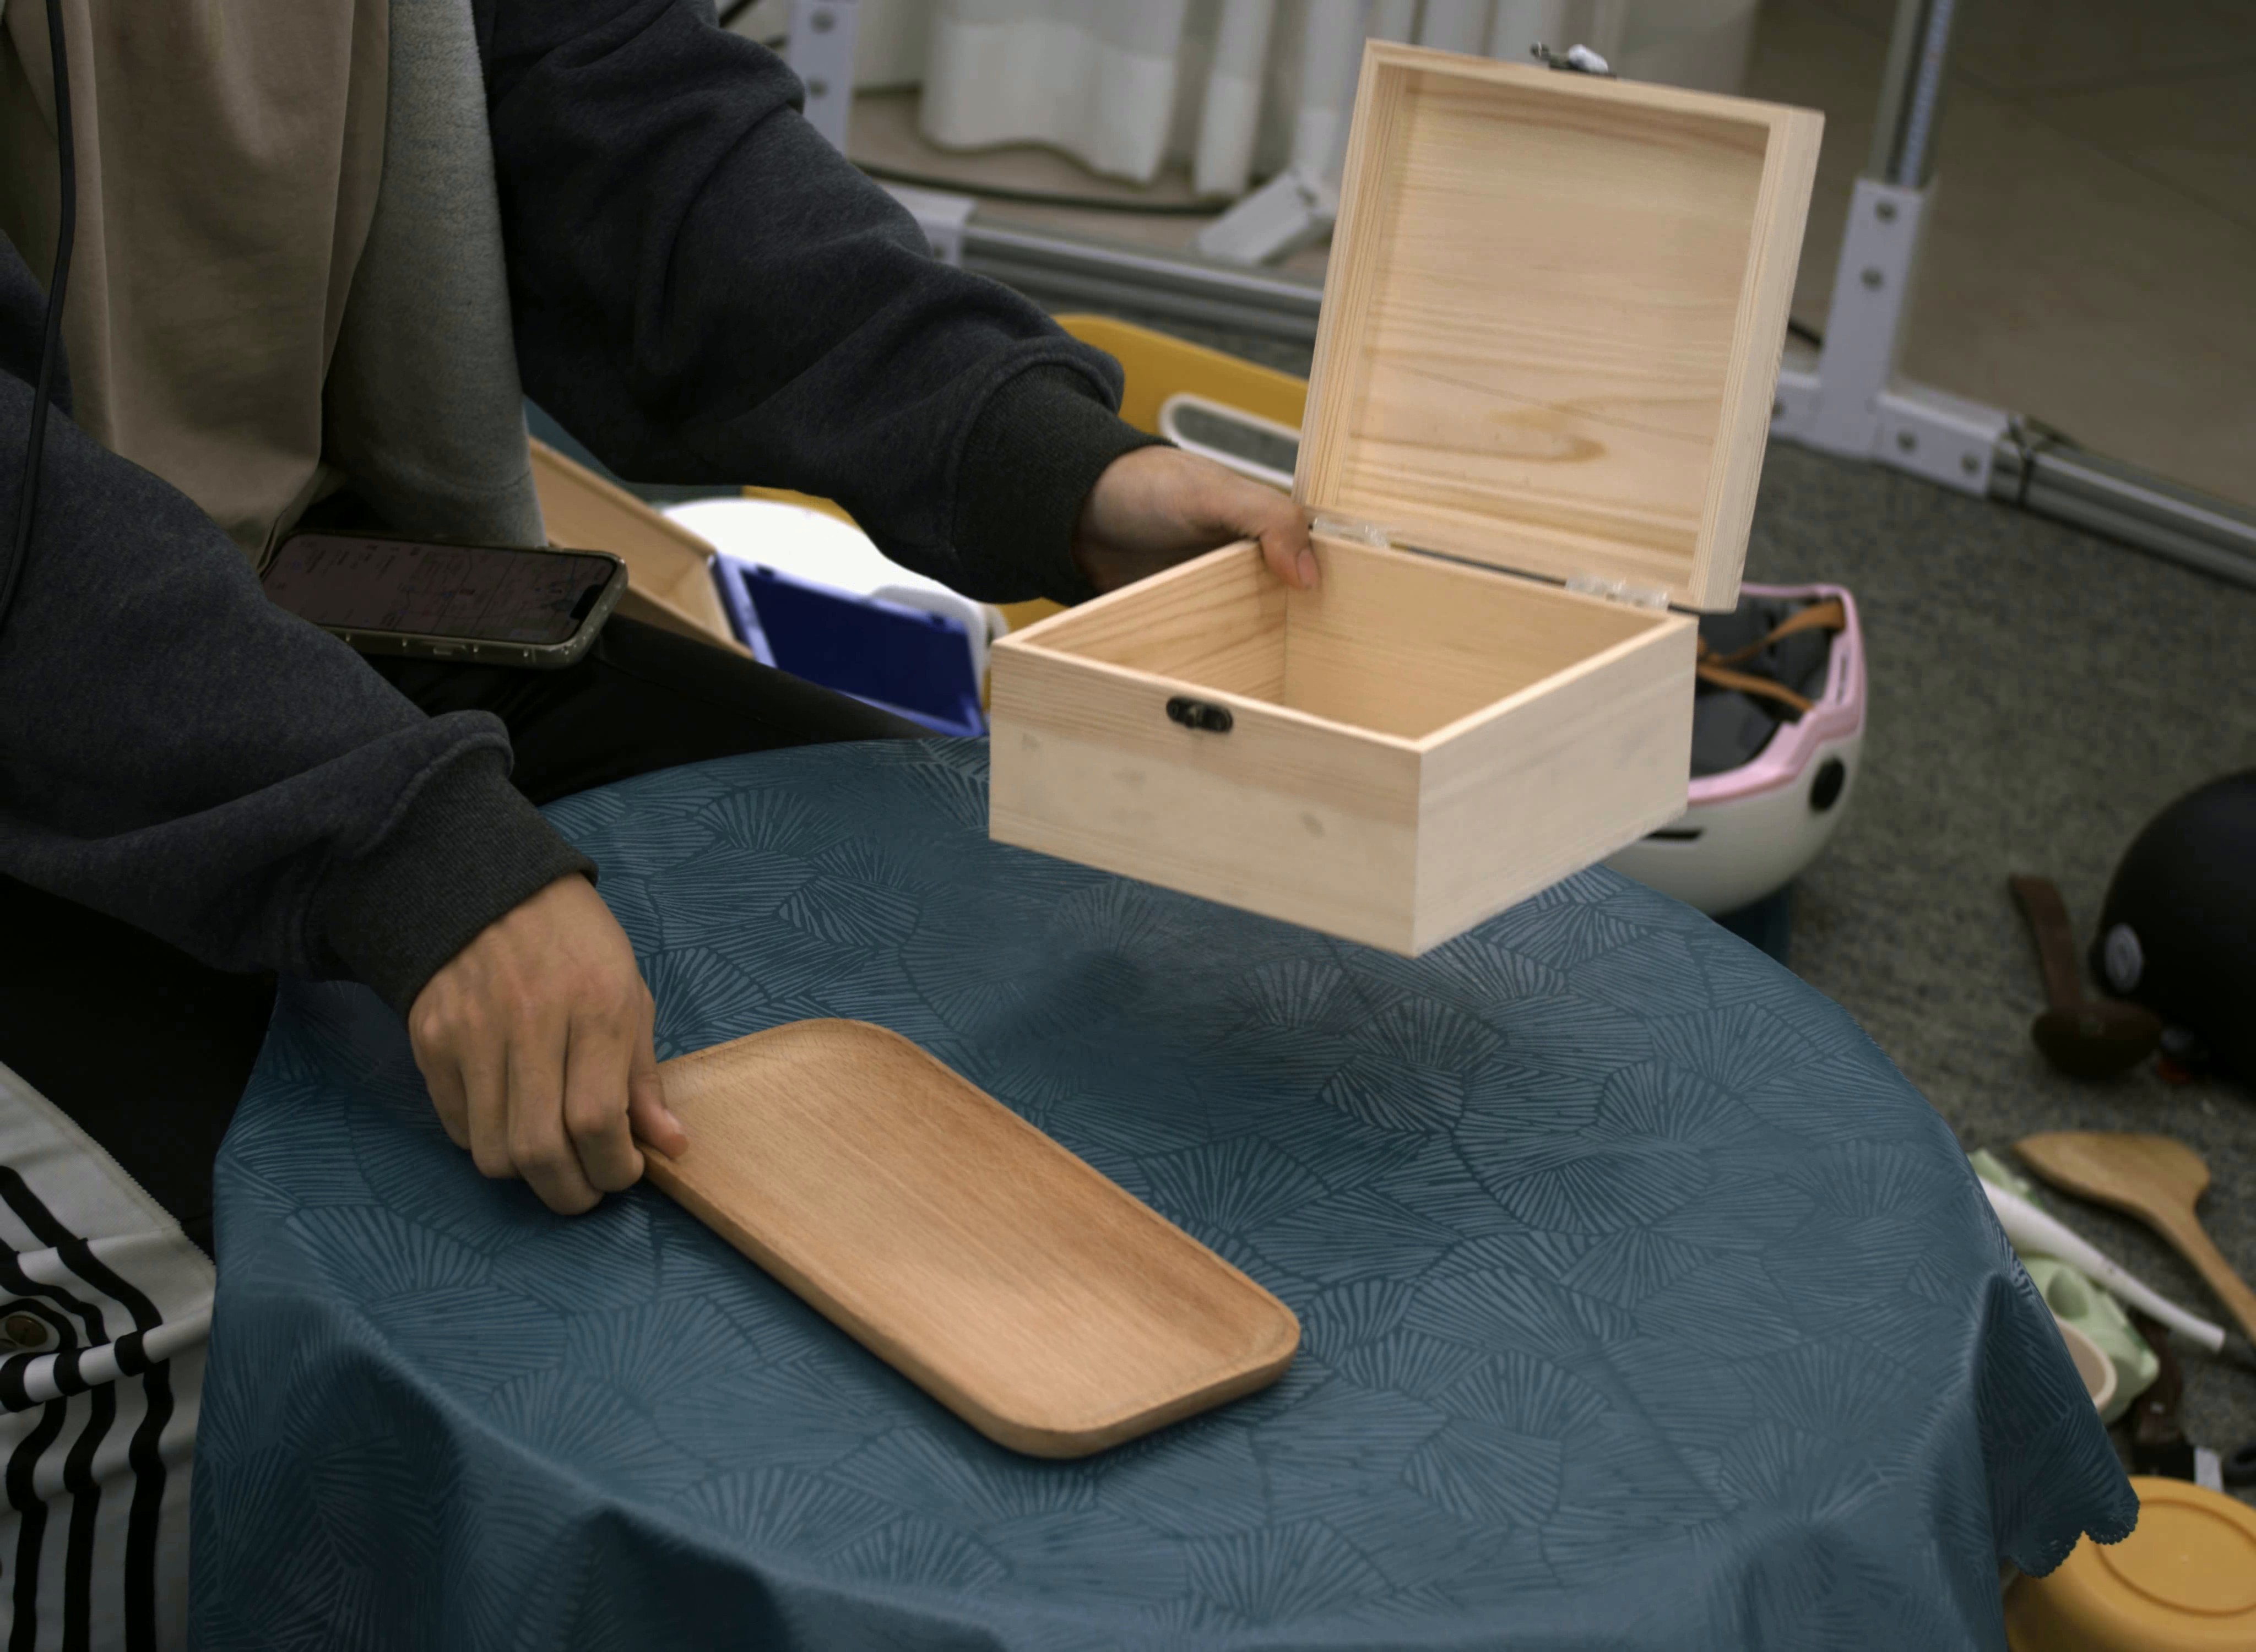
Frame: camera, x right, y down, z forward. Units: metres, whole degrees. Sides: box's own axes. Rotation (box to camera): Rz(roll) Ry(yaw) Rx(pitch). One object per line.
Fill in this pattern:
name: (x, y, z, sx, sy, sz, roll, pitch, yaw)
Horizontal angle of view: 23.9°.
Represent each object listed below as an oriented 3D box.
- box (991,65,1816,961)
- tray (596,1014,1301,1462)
box: (0.097, -0.121, 1.886, 0.183, 0.253, 0.264, 12, 21, 34)
tray: (-0.062, 0.132, 1.750, 0.130, 0.023, 0.253, -13, 32, -39)
